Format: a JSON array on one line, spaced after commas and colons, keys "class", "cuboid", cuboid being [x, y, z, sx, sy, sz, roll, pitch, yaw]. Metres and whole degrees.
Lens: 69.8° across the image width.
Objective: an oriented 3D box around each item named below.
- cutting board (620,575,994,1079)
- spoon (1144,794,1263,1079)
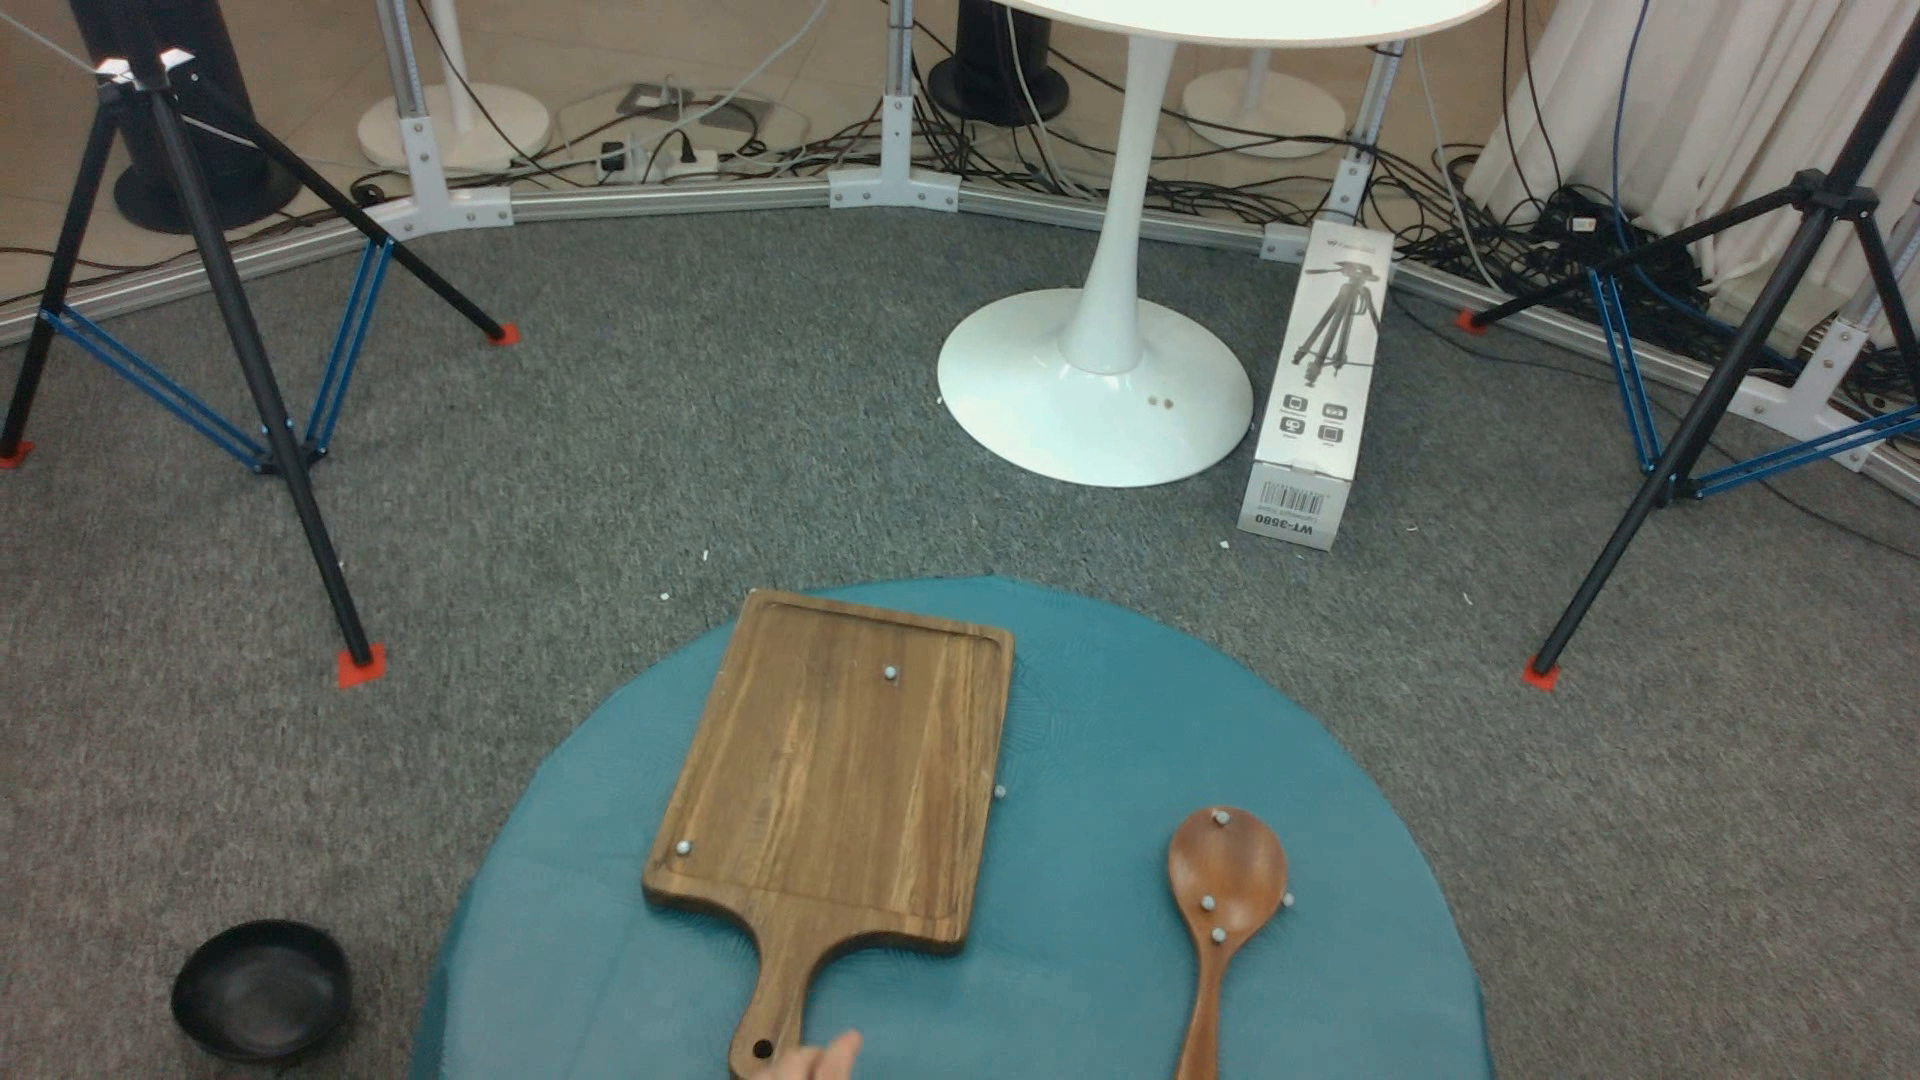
[{"class": "cutting board", "cuboid": [-0.095, 0.165, 0.858, 0.201, 0.023, 0.354, 10, 45, 2]}, {"class": "spoon", "cuboid": [0.136, 0.240, 0.814, 0.075, 0.017, 0.217, 15, 44, 5]}]
